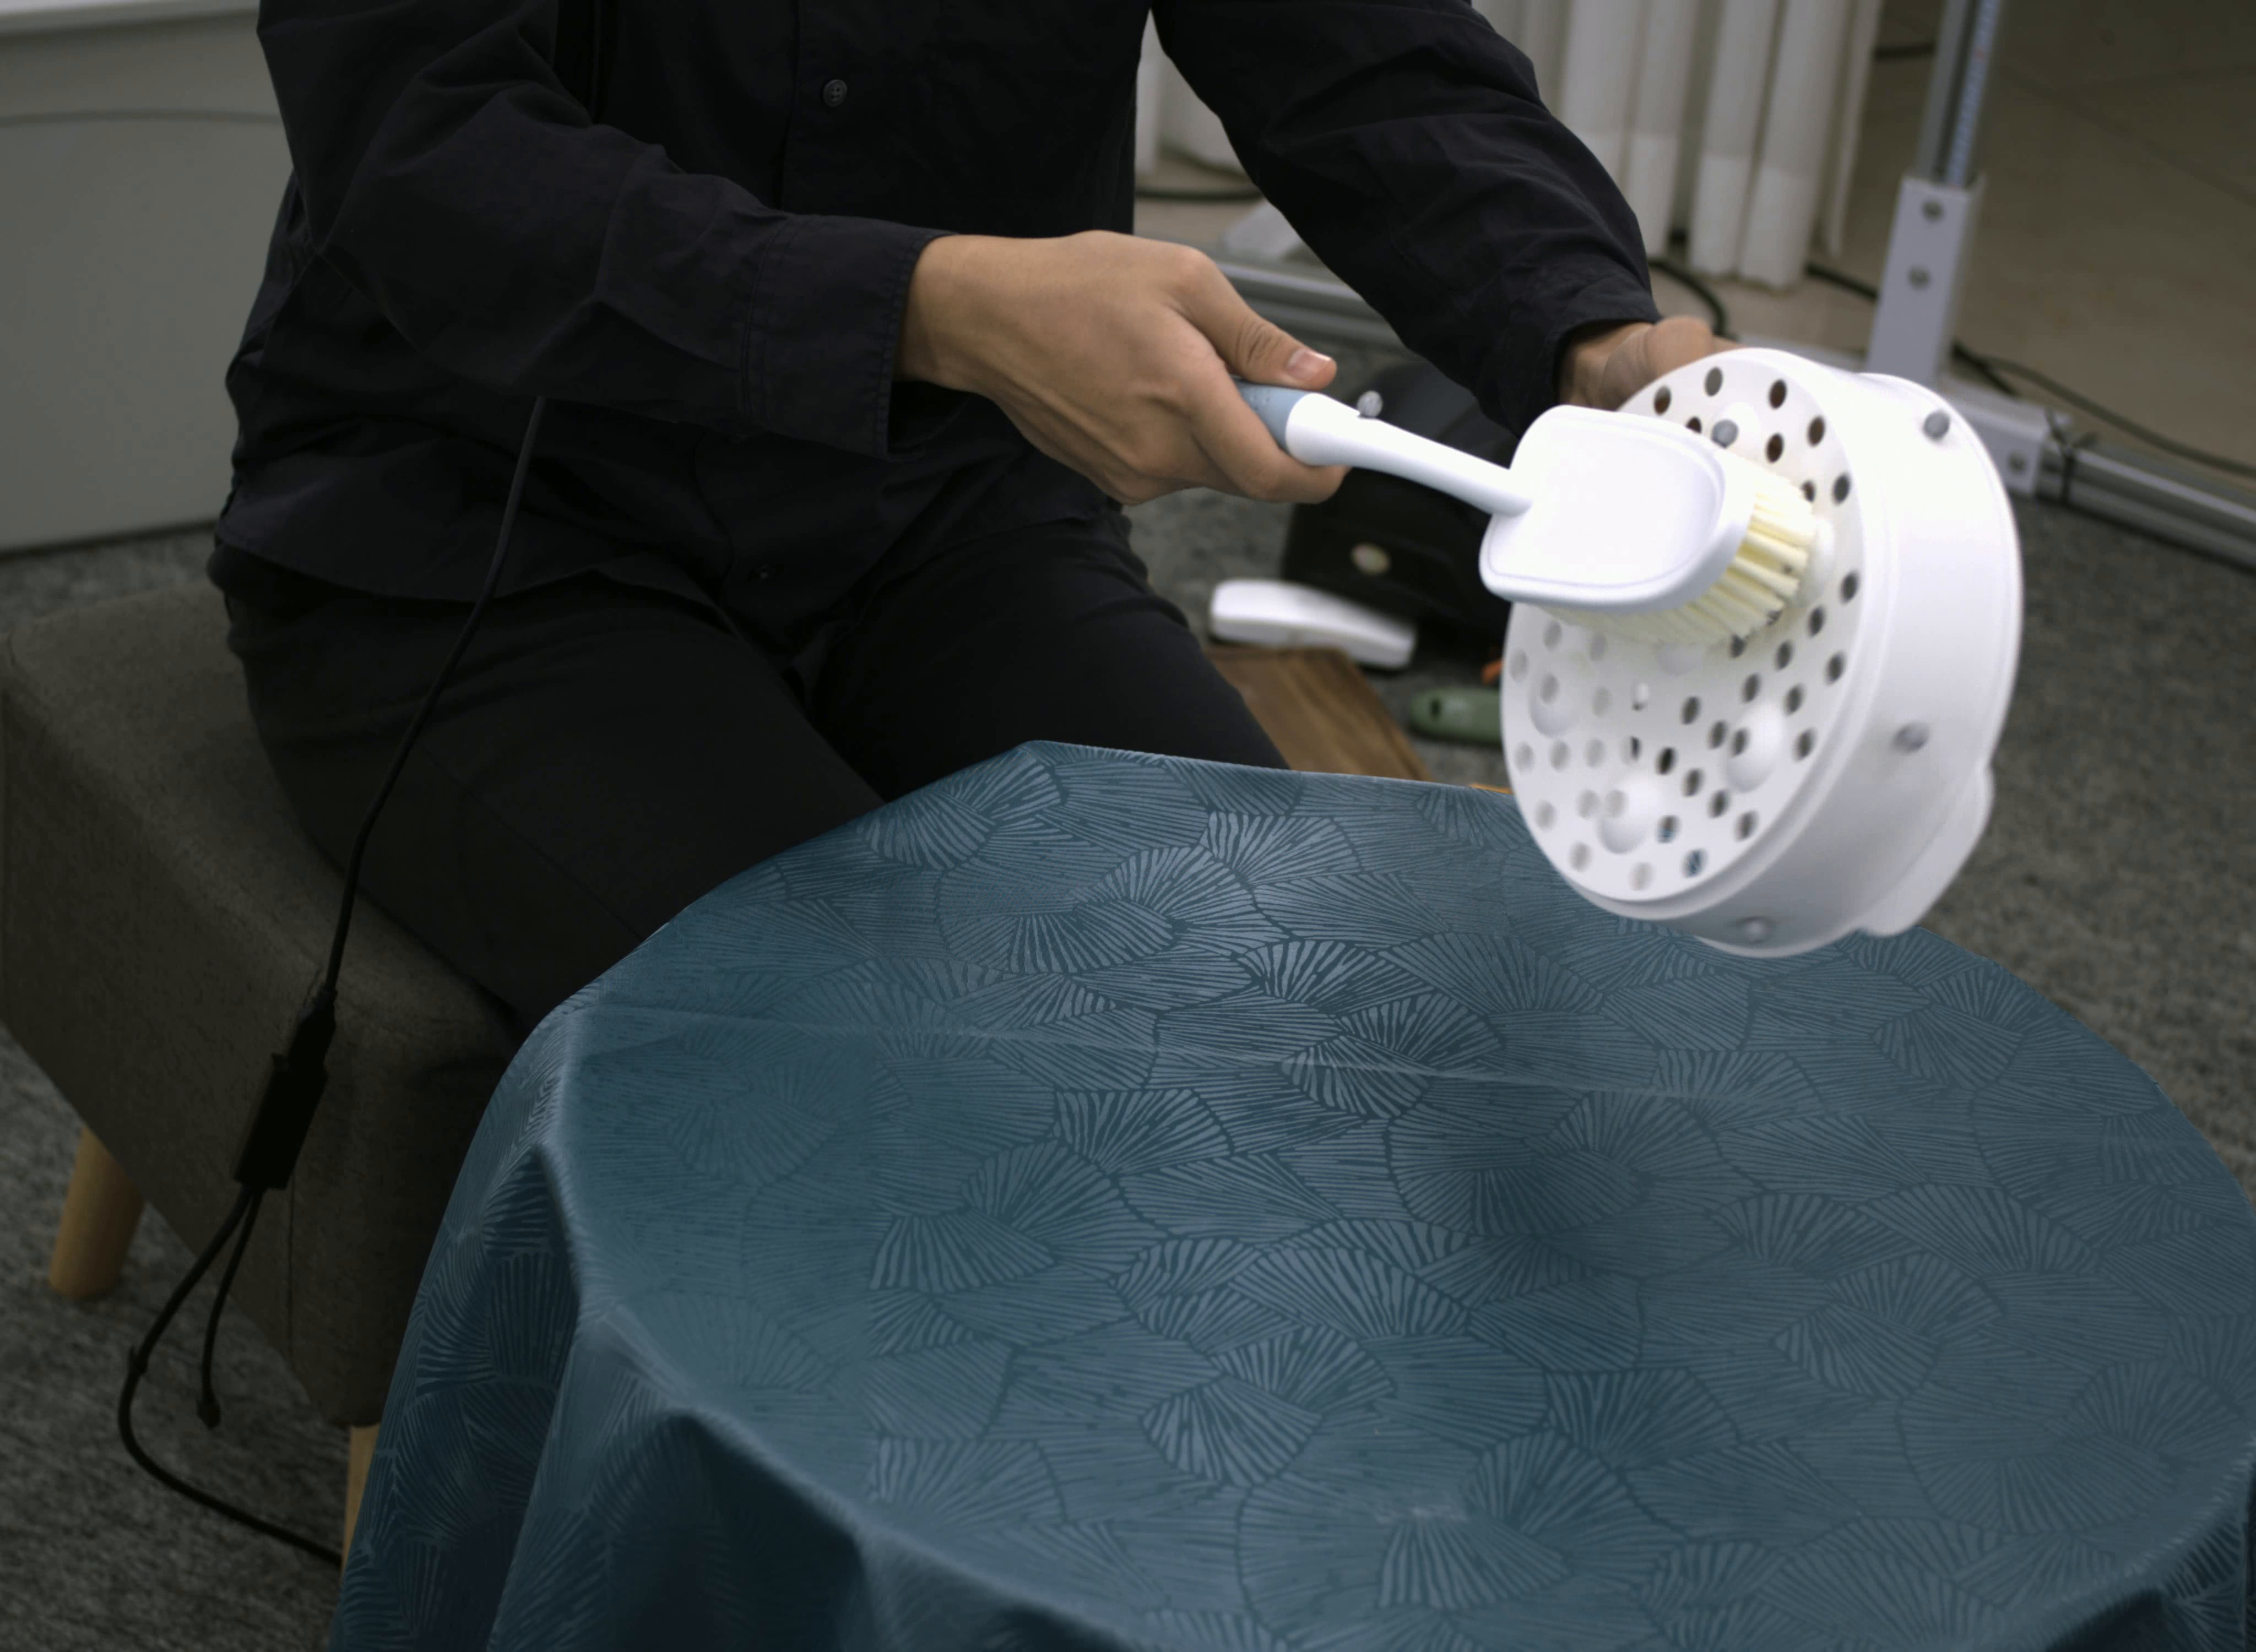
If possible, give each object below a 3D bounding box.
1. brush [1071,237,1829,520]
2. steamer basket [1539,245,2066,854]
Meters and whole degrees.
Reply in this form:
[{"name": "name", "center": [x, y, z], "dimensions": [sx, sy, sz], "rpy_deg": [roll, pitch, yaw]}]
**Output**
[{"name": "brush", "center": [0.115, -0.162, 1.831], "dimensions": [0.327, 0.084, 0.083], "rpy_deg": [17, 50, 44]}, {"name": "steamer basket", "center": [0.220, -0.095, 1.782], "dimensions": [0.068, 0.201, 0.233], "rpy_deg": [15, 30, -33]}]
